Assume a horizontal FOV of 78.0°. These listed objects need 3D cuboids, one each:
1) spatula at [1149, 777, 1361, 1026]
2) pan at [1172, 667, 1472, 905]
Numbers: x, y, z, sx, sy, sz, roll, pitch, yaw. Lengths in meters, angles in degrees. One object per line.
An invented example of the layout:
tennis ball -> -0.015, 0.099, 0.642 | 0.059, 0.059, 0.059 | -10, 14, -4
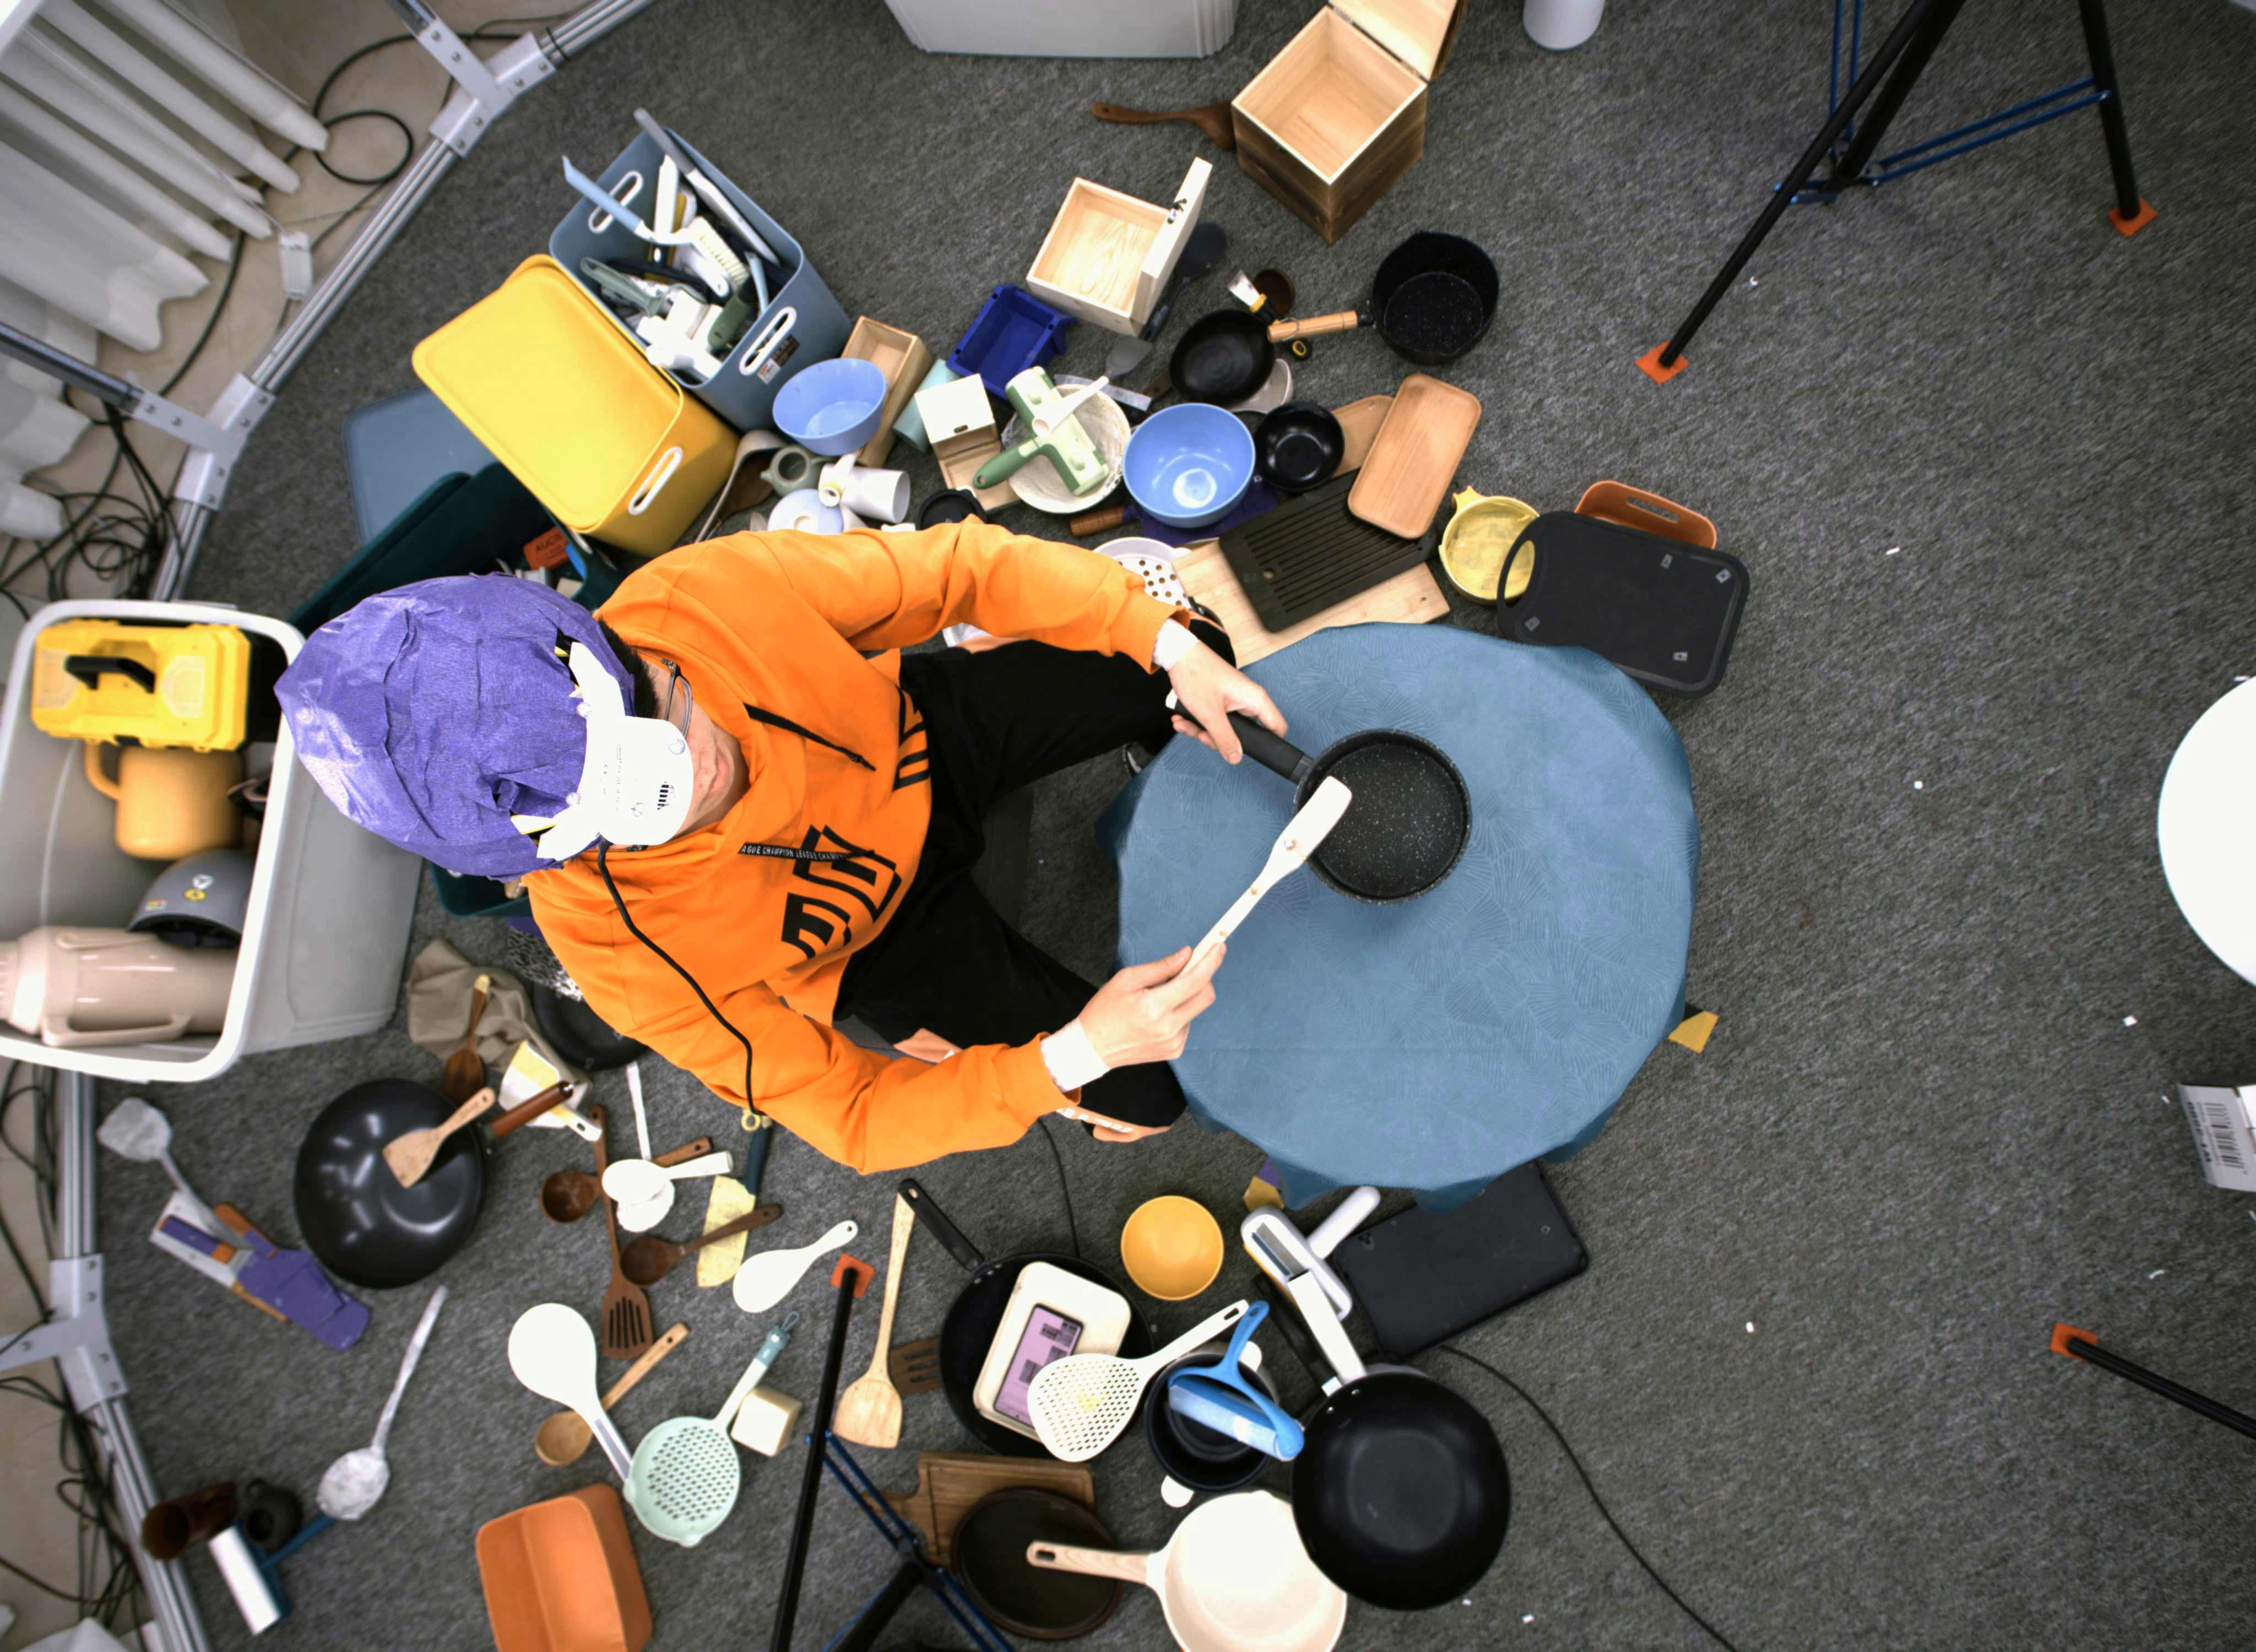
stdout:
spatula -> 0.115, 0.073, 1.290 | 0.011, 0.071, 0.295 | 37, 97, -16
pan -> 0.187, -0.053, 1.374 | 0.328, 0.086, 0.173 | 35, 97, 10
